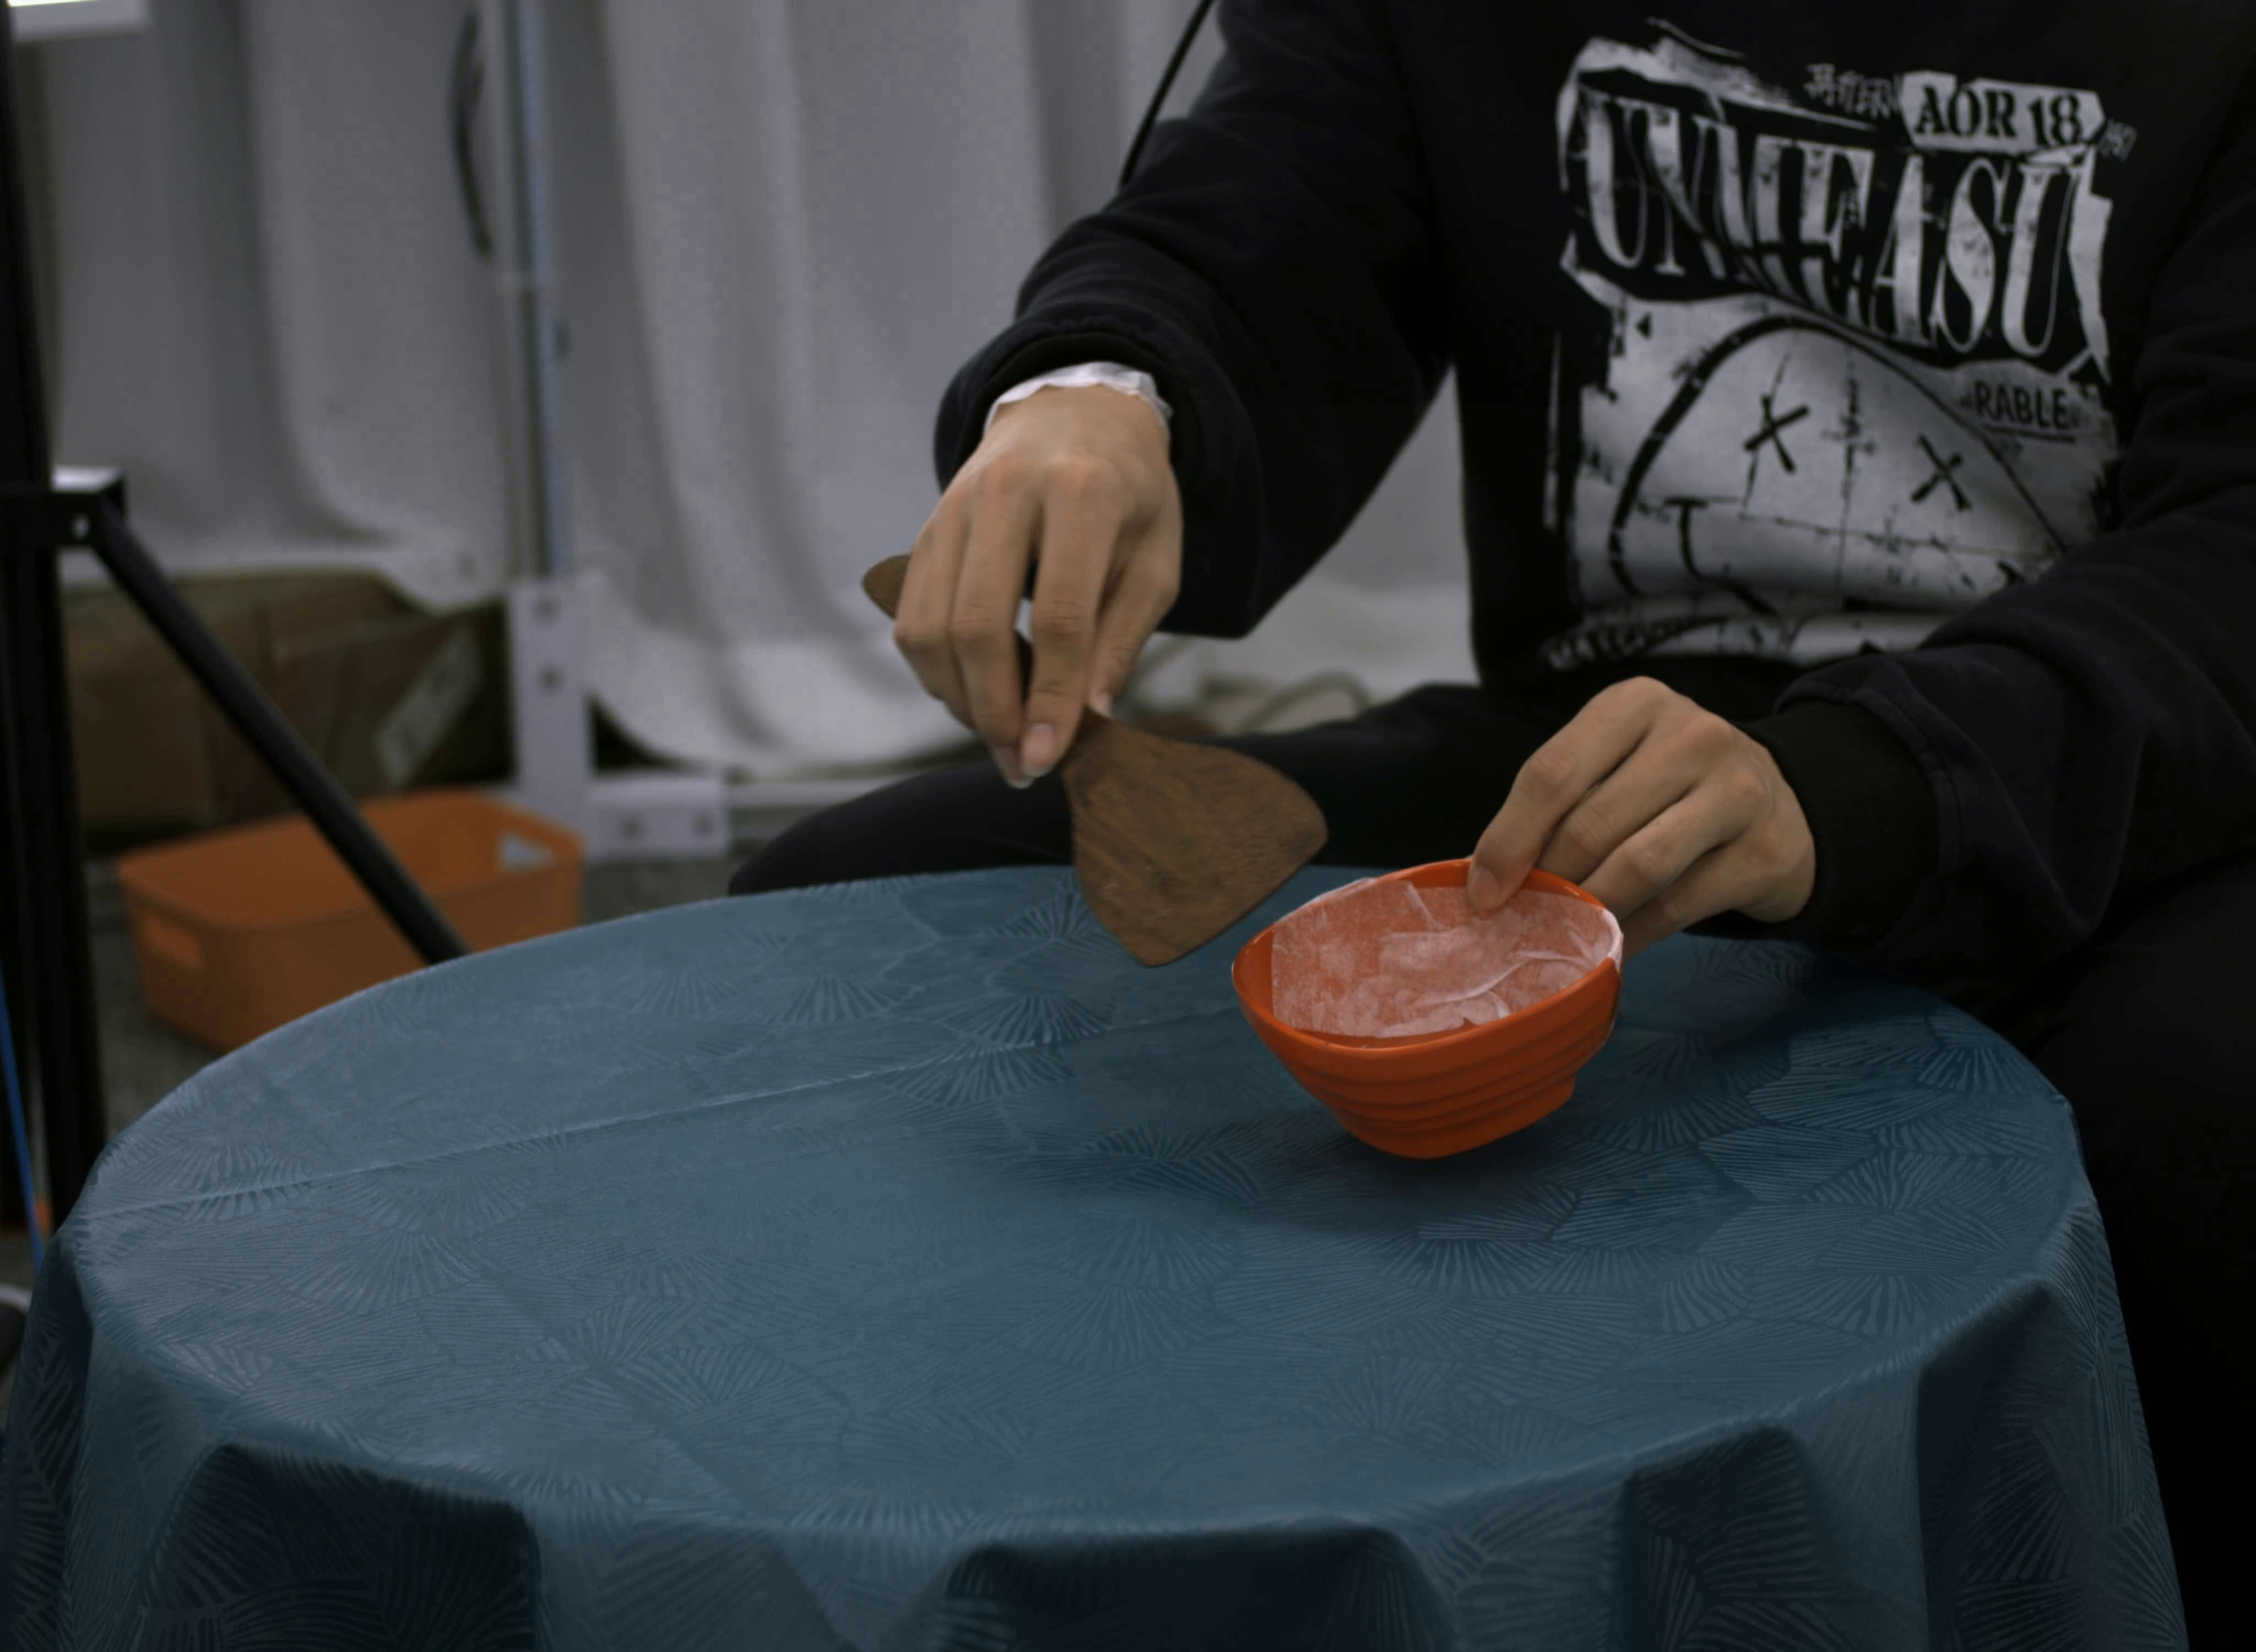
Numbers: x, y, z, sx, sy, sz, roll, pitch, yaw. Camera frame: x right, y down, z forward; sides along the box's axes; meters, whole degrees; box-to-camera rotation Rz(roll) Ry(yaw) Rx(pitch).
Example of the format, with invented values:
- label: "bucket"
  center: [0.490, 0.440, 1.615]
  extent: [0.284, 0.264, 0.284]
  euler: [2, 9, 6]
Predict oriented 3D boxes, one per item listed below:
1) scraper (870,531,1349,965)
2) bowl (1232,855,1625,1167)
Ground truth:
- label: "scraper"
  center: [-0.015, -0.031, 1.629]
  extent: [0.075, 0.010, 0.216]
  euler: [-38, 48, -9]
- label: "bowl"
  center: [0.093, 0.059, 1.577]
  extent: [0.119, 0.051, 0.120]
  euler: [-11, 27, 4]
